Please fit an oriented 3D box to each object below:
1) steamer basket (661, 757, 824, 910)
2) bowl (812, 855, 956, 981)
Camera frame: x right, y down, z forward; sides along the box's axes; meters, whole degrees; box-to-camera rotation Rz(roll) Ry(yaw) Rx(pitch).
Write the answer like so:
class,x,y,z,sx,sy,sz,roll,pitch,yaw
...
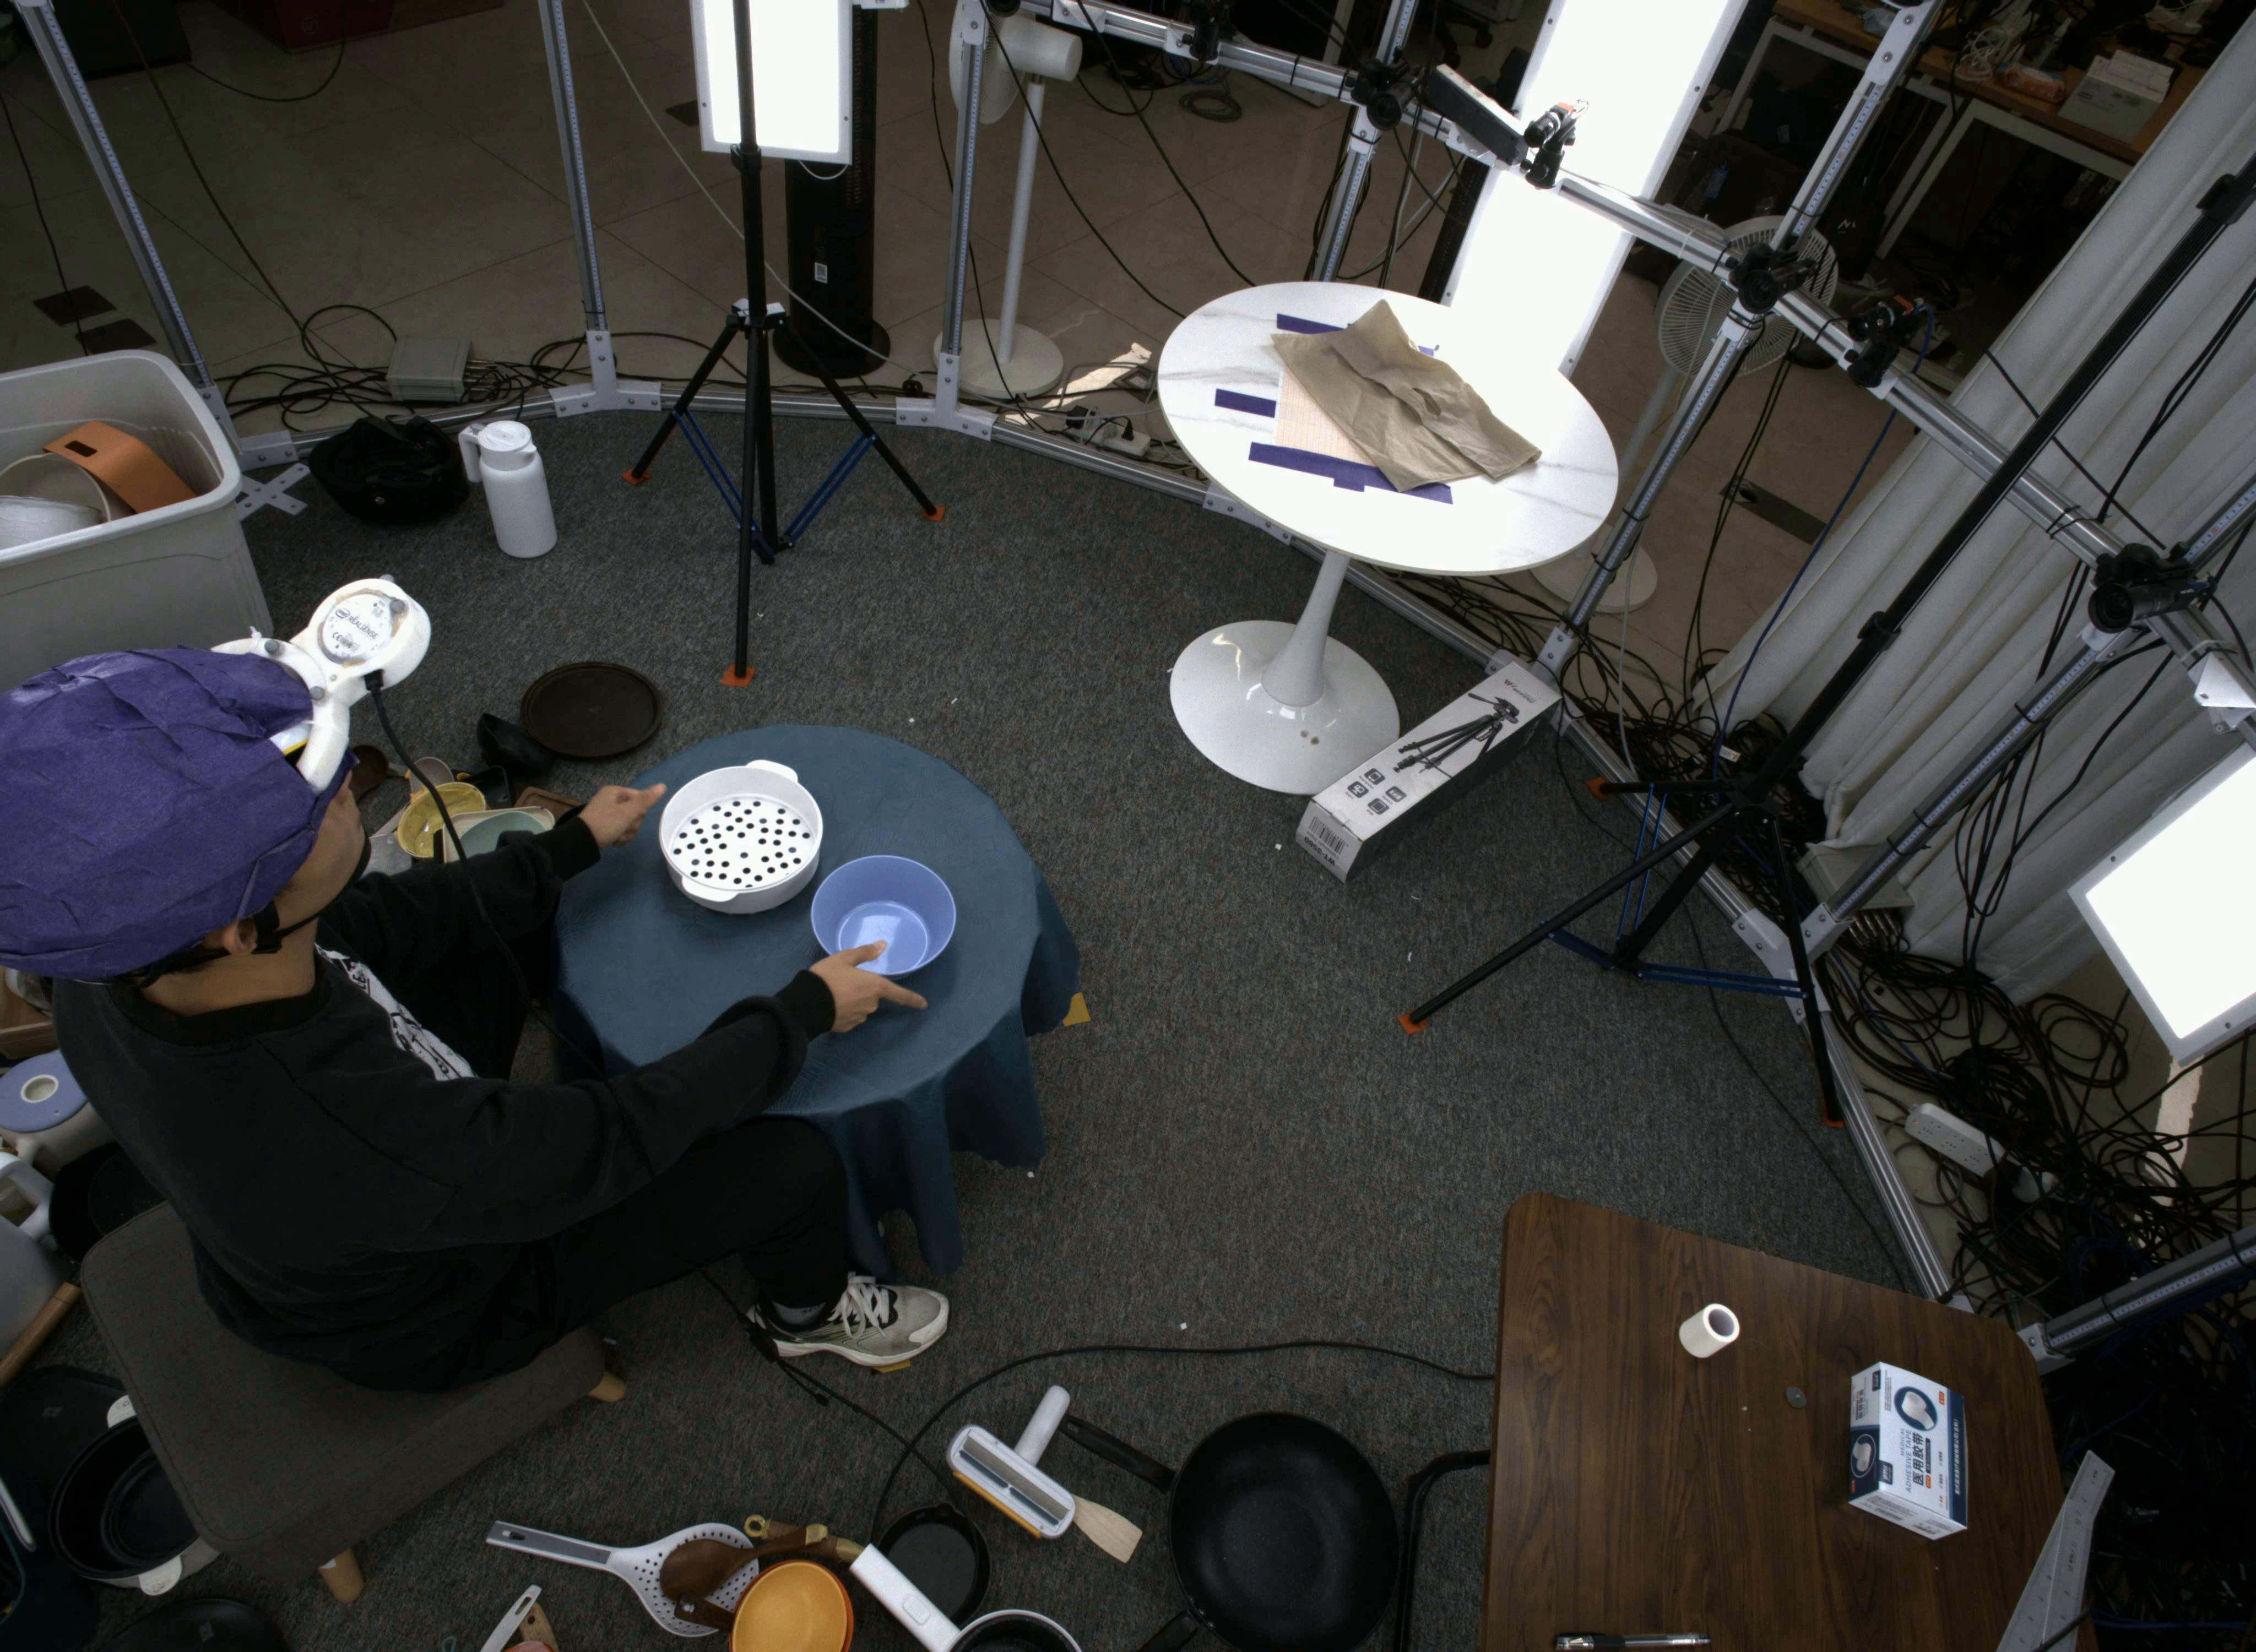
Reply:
class,x,y,z,sx,sy,sz,roll,pitch,yaw
steamer basket,-0.492,0.014,1.657,0.200,0.070,0.227,17,49,-1
bowl,-0.303,0.124,1.622,0.175,0.072,0.173,7,52,-7
